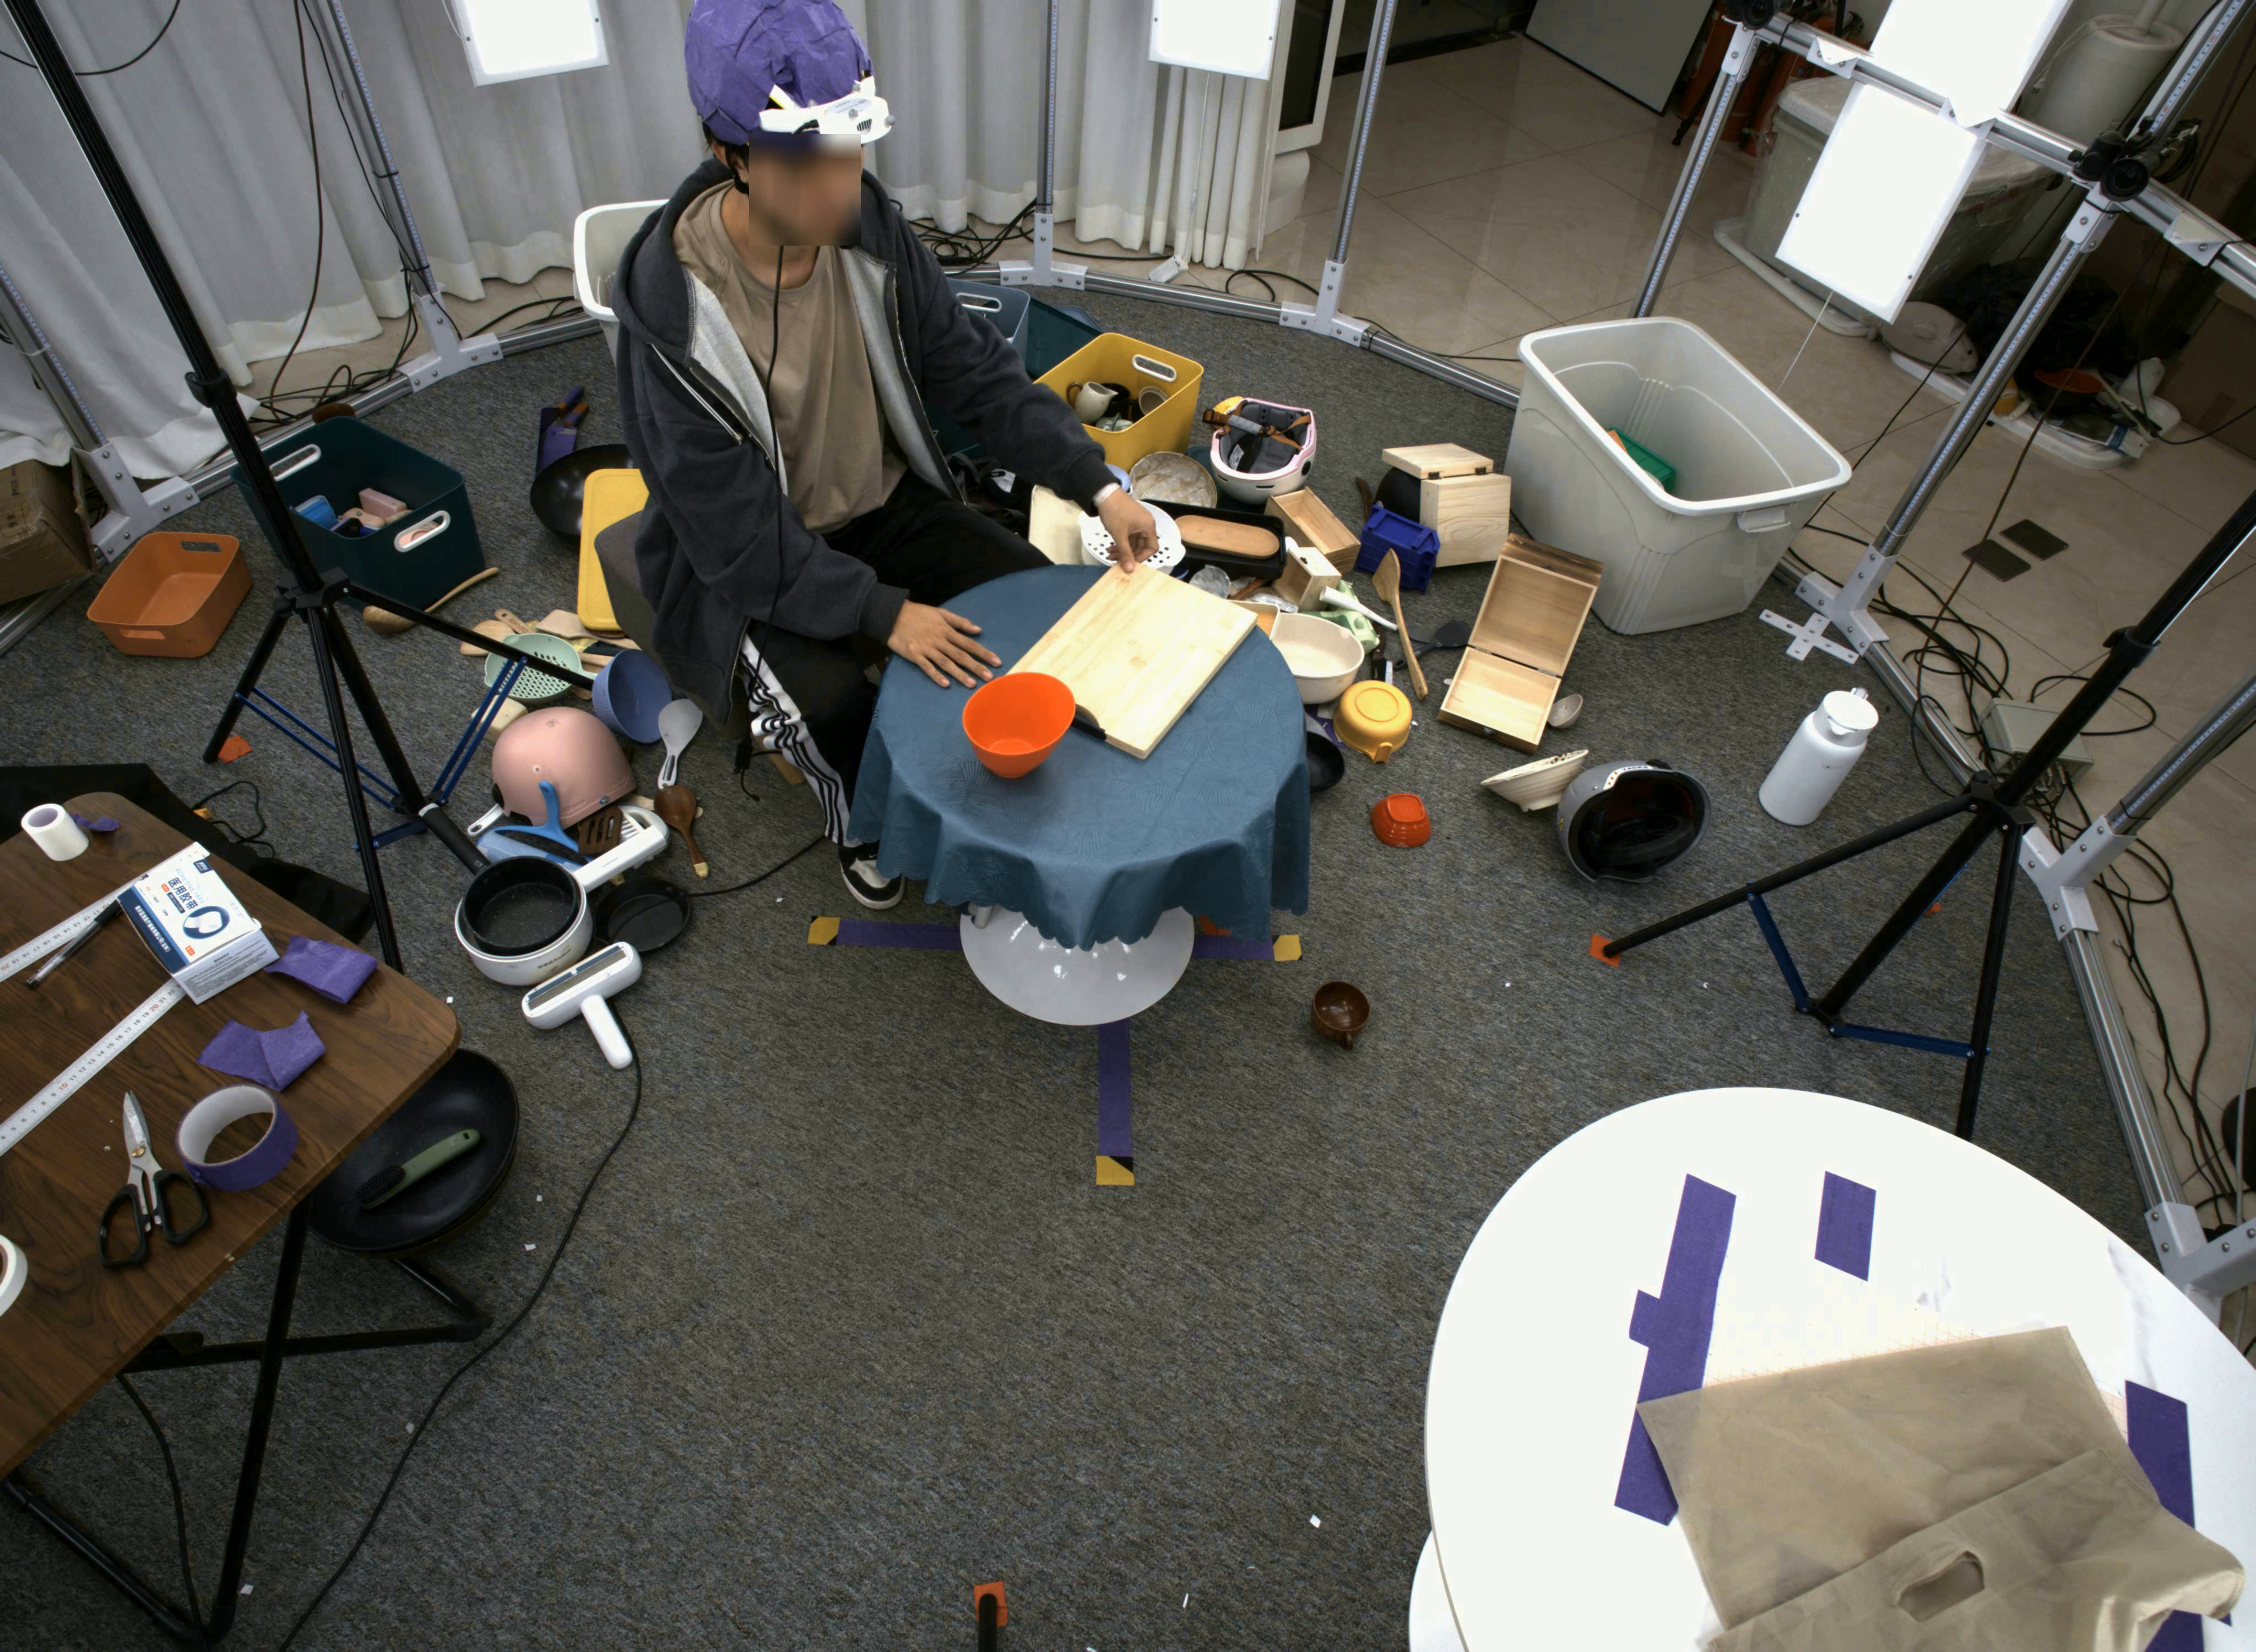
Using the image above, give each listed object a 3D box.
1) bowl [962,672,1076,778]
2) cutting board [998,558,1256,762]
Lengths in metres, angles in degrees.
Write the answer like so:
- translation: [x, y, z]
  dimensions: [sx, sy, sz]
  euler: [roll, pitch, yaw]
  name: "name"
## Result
- translation: [-0.144, -0.121, 1.696]
  dimensions: [0.148, 0.102, 0.152]
  euler: [2, 51, -3]
  name: "bowl"
- translation: [0.003, -0.251, 1.875]
  dimensions: [0.253, 0.023, 0.354]
  euler: [25, 52, 18]
  name: "cutting board"
